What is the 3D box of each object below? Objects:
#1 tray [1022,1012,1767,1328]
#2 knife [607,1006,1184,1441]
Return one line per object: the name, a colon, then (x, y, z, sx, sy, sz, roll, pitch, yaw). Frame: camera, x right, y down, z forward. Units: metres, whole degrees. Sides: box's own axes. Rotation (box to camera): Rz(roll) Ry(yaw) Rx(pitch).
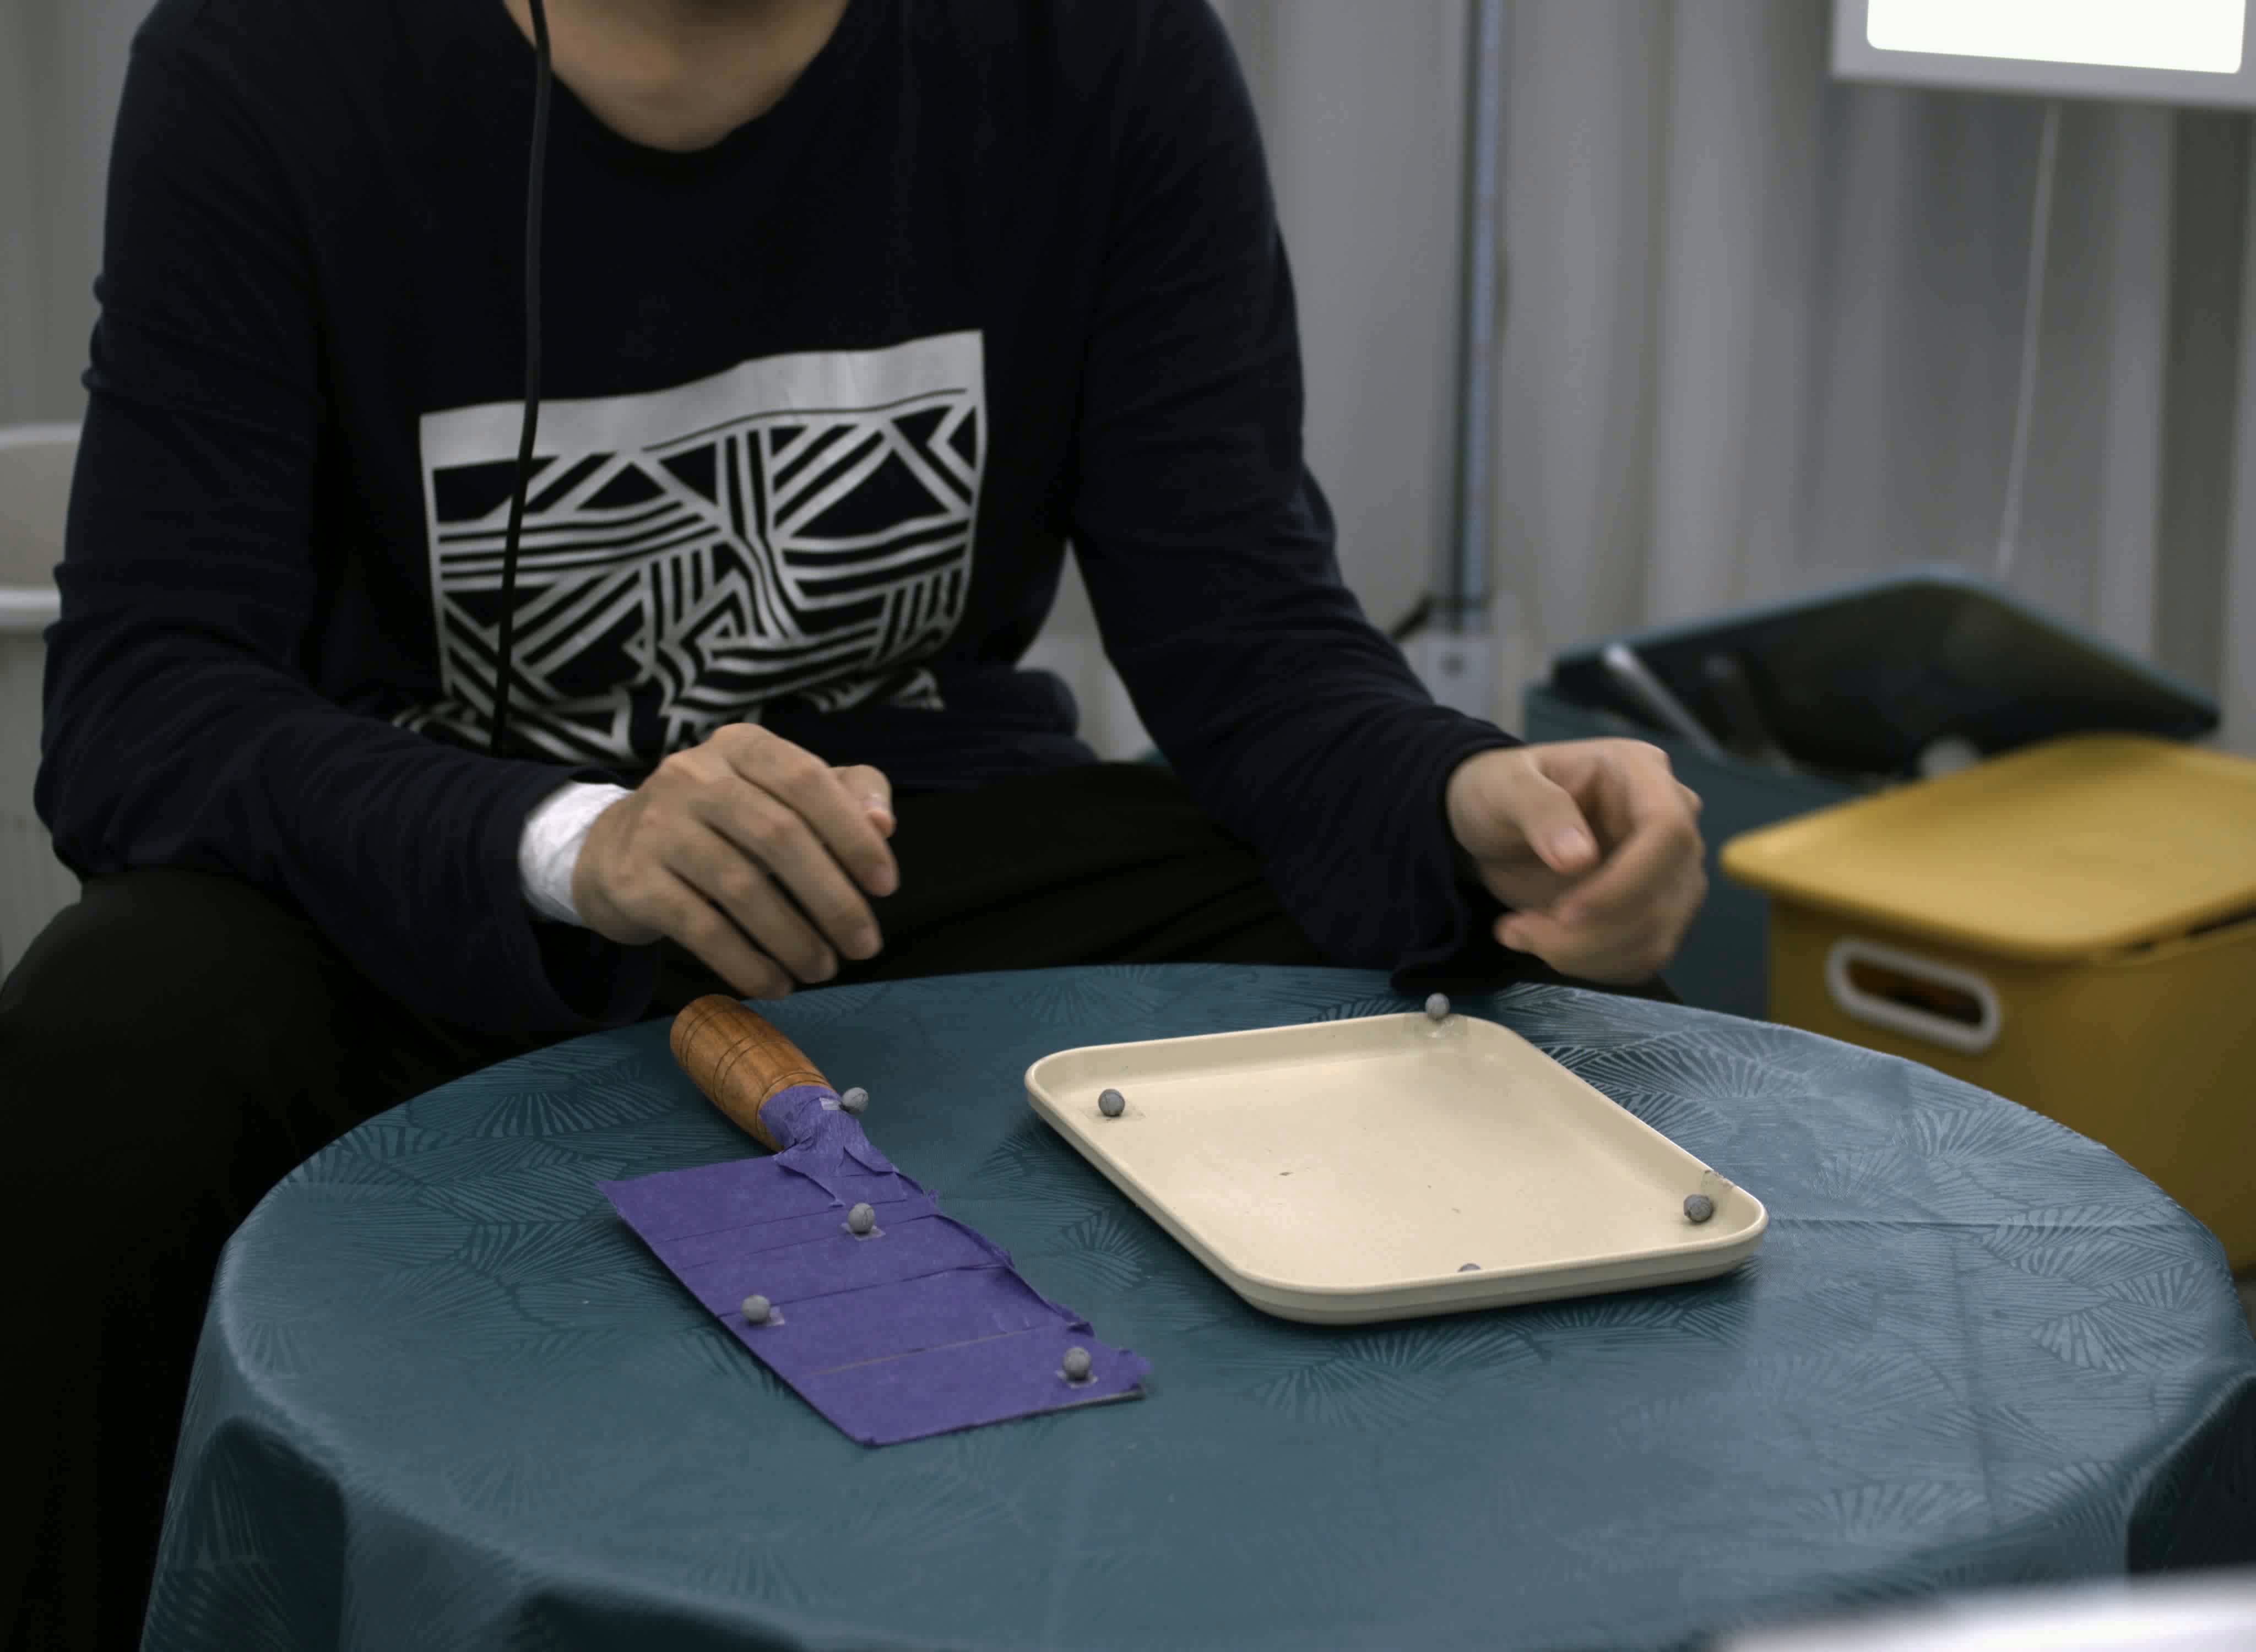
tray: (0.078, 0.104, 1.624, 0.172, 0.017, 0.237, -6, 17, -20)
knife: (-0.098, 0.114, 1.566, 0.104, 0.032, 0.311, -7, 17, -26)
